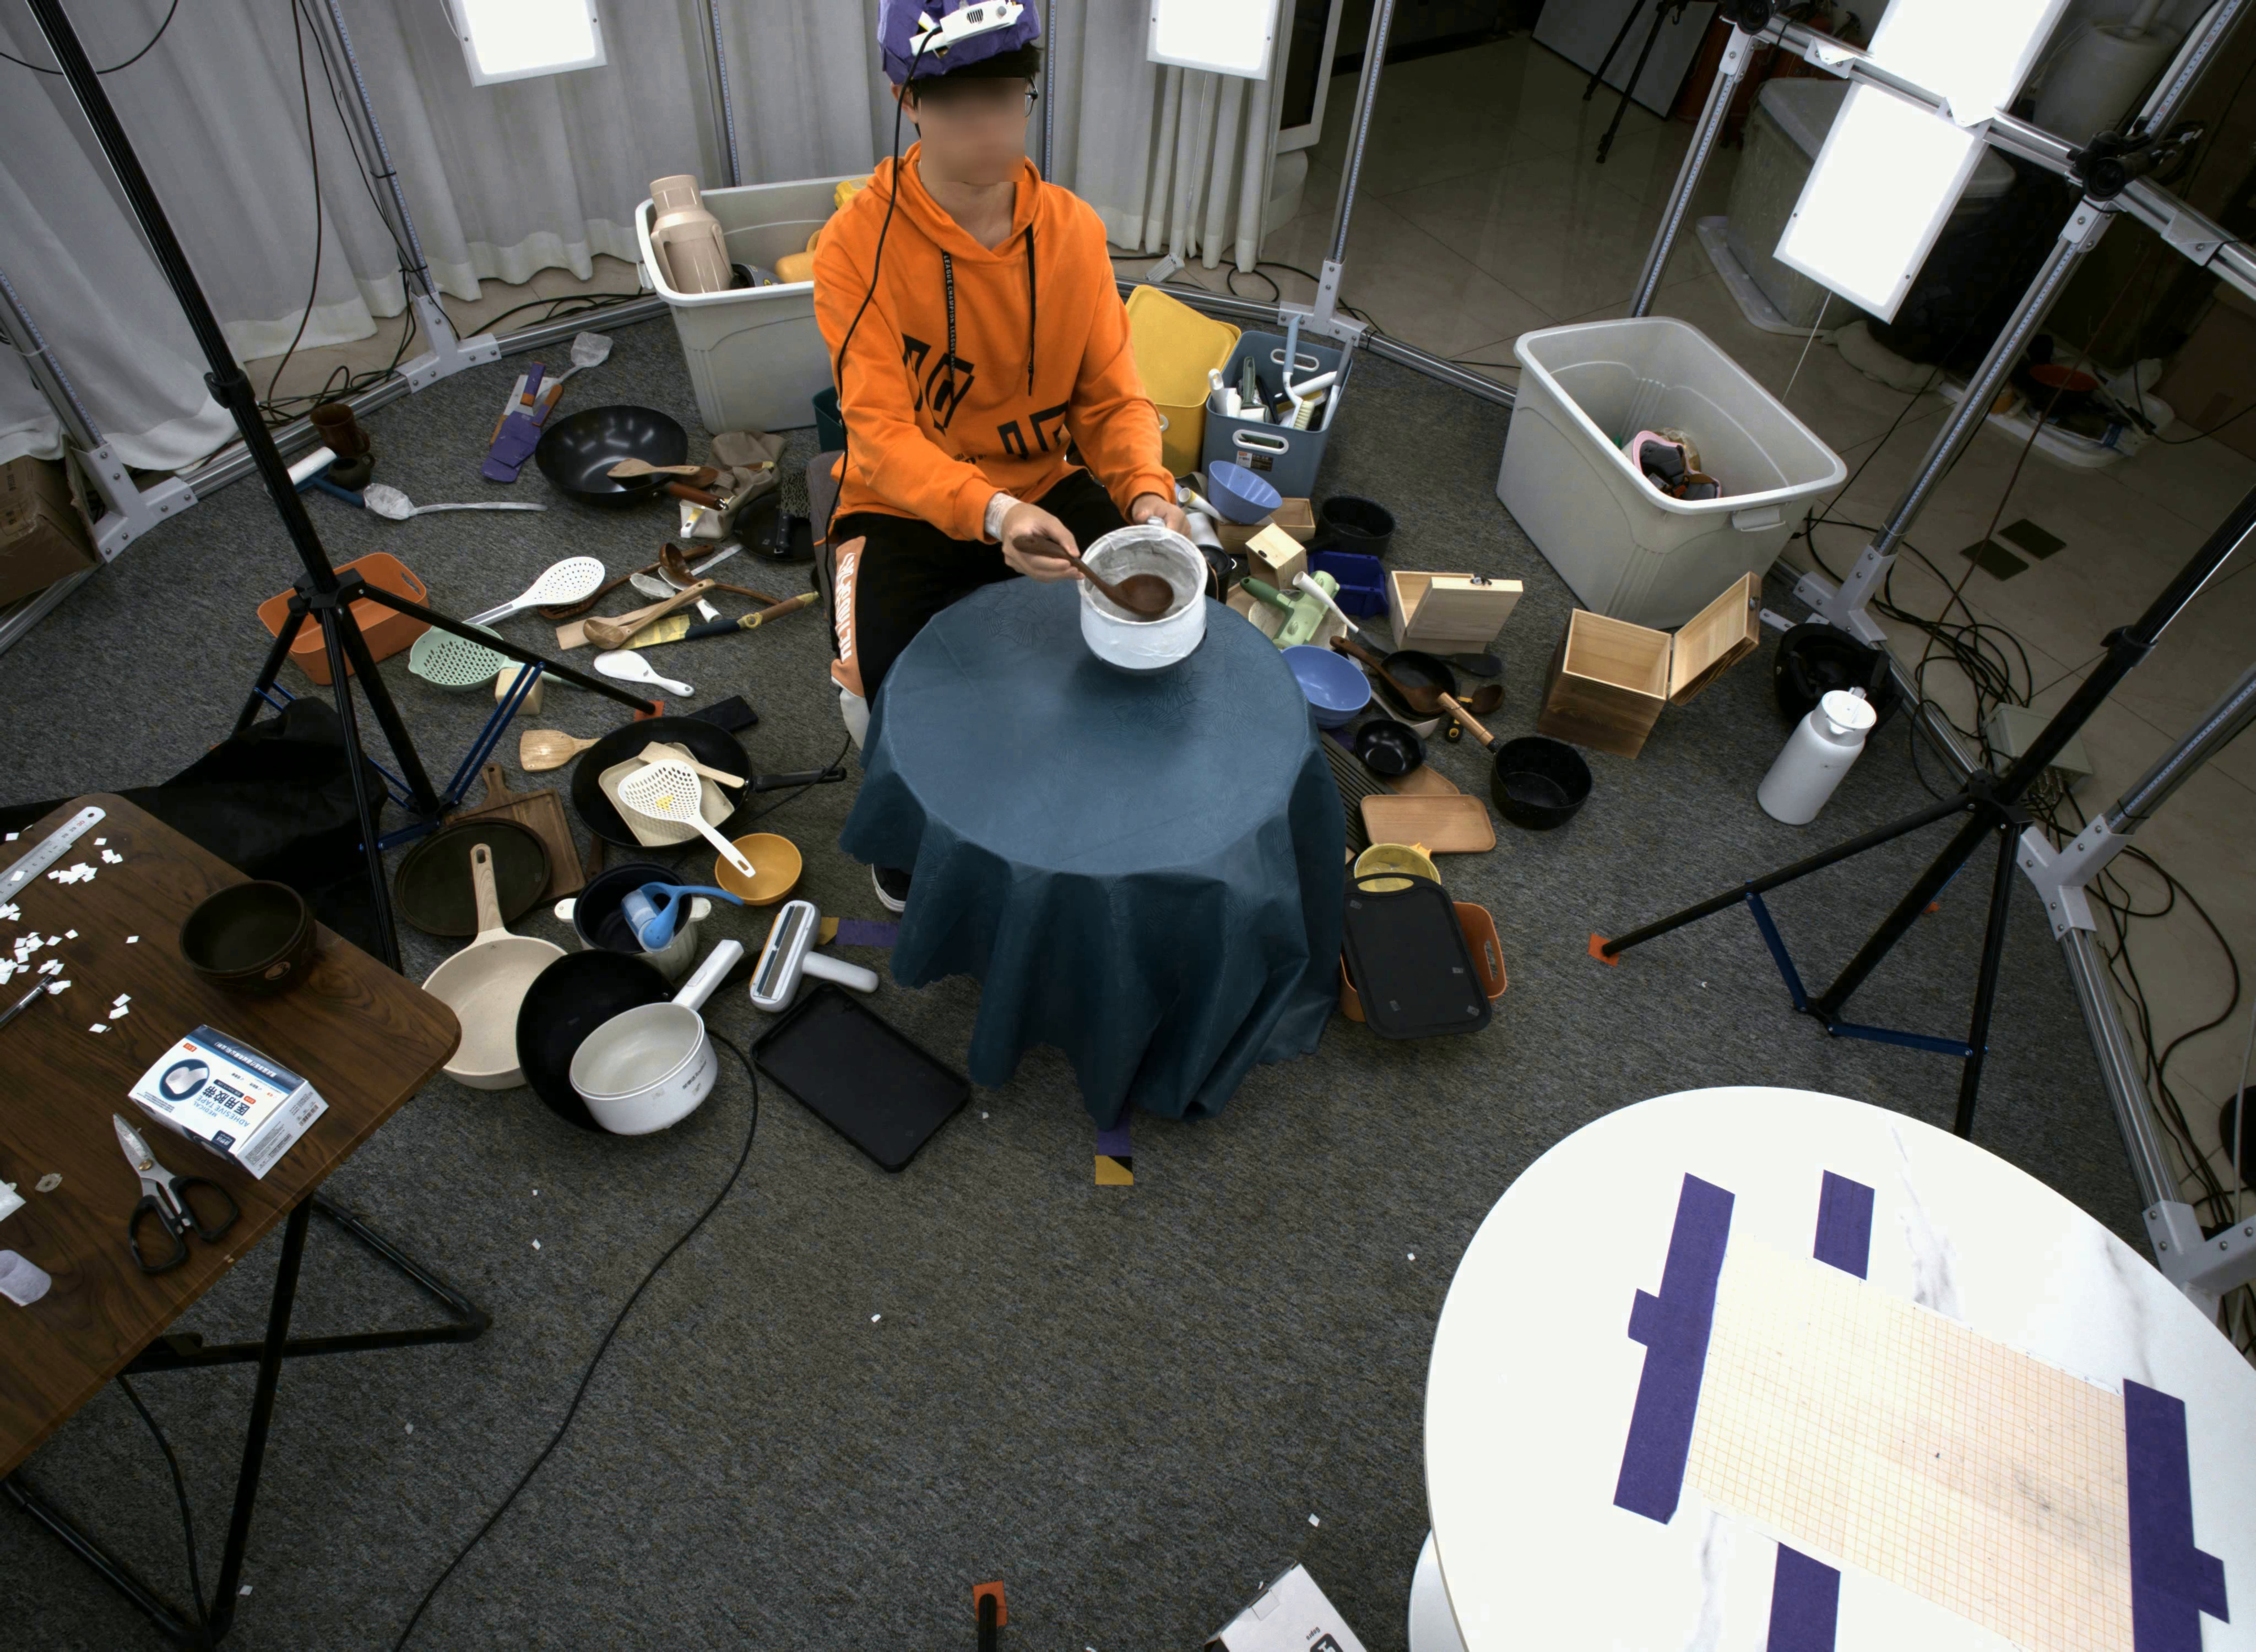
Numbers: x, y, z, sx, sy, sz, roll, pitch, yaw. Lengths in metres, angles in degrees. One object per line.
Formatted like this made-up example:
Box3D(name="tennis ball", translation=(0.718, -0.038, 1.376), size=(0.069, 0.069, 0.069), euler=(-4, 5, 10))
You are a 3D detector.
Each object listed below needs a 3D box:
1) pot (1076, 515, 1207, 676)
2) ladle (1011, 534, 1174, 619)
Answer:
Box3D(name="pot", translation=(0.024, -0.333, 1.802), size=(0.179, 0.133, 0.239), euler=(6, 59, 6))
Box3D(name="ladle", translation=(-0.041, -0.342, 1.704), size=(0.256, 0.064, 0.078), euler=(23, 35, -43))
